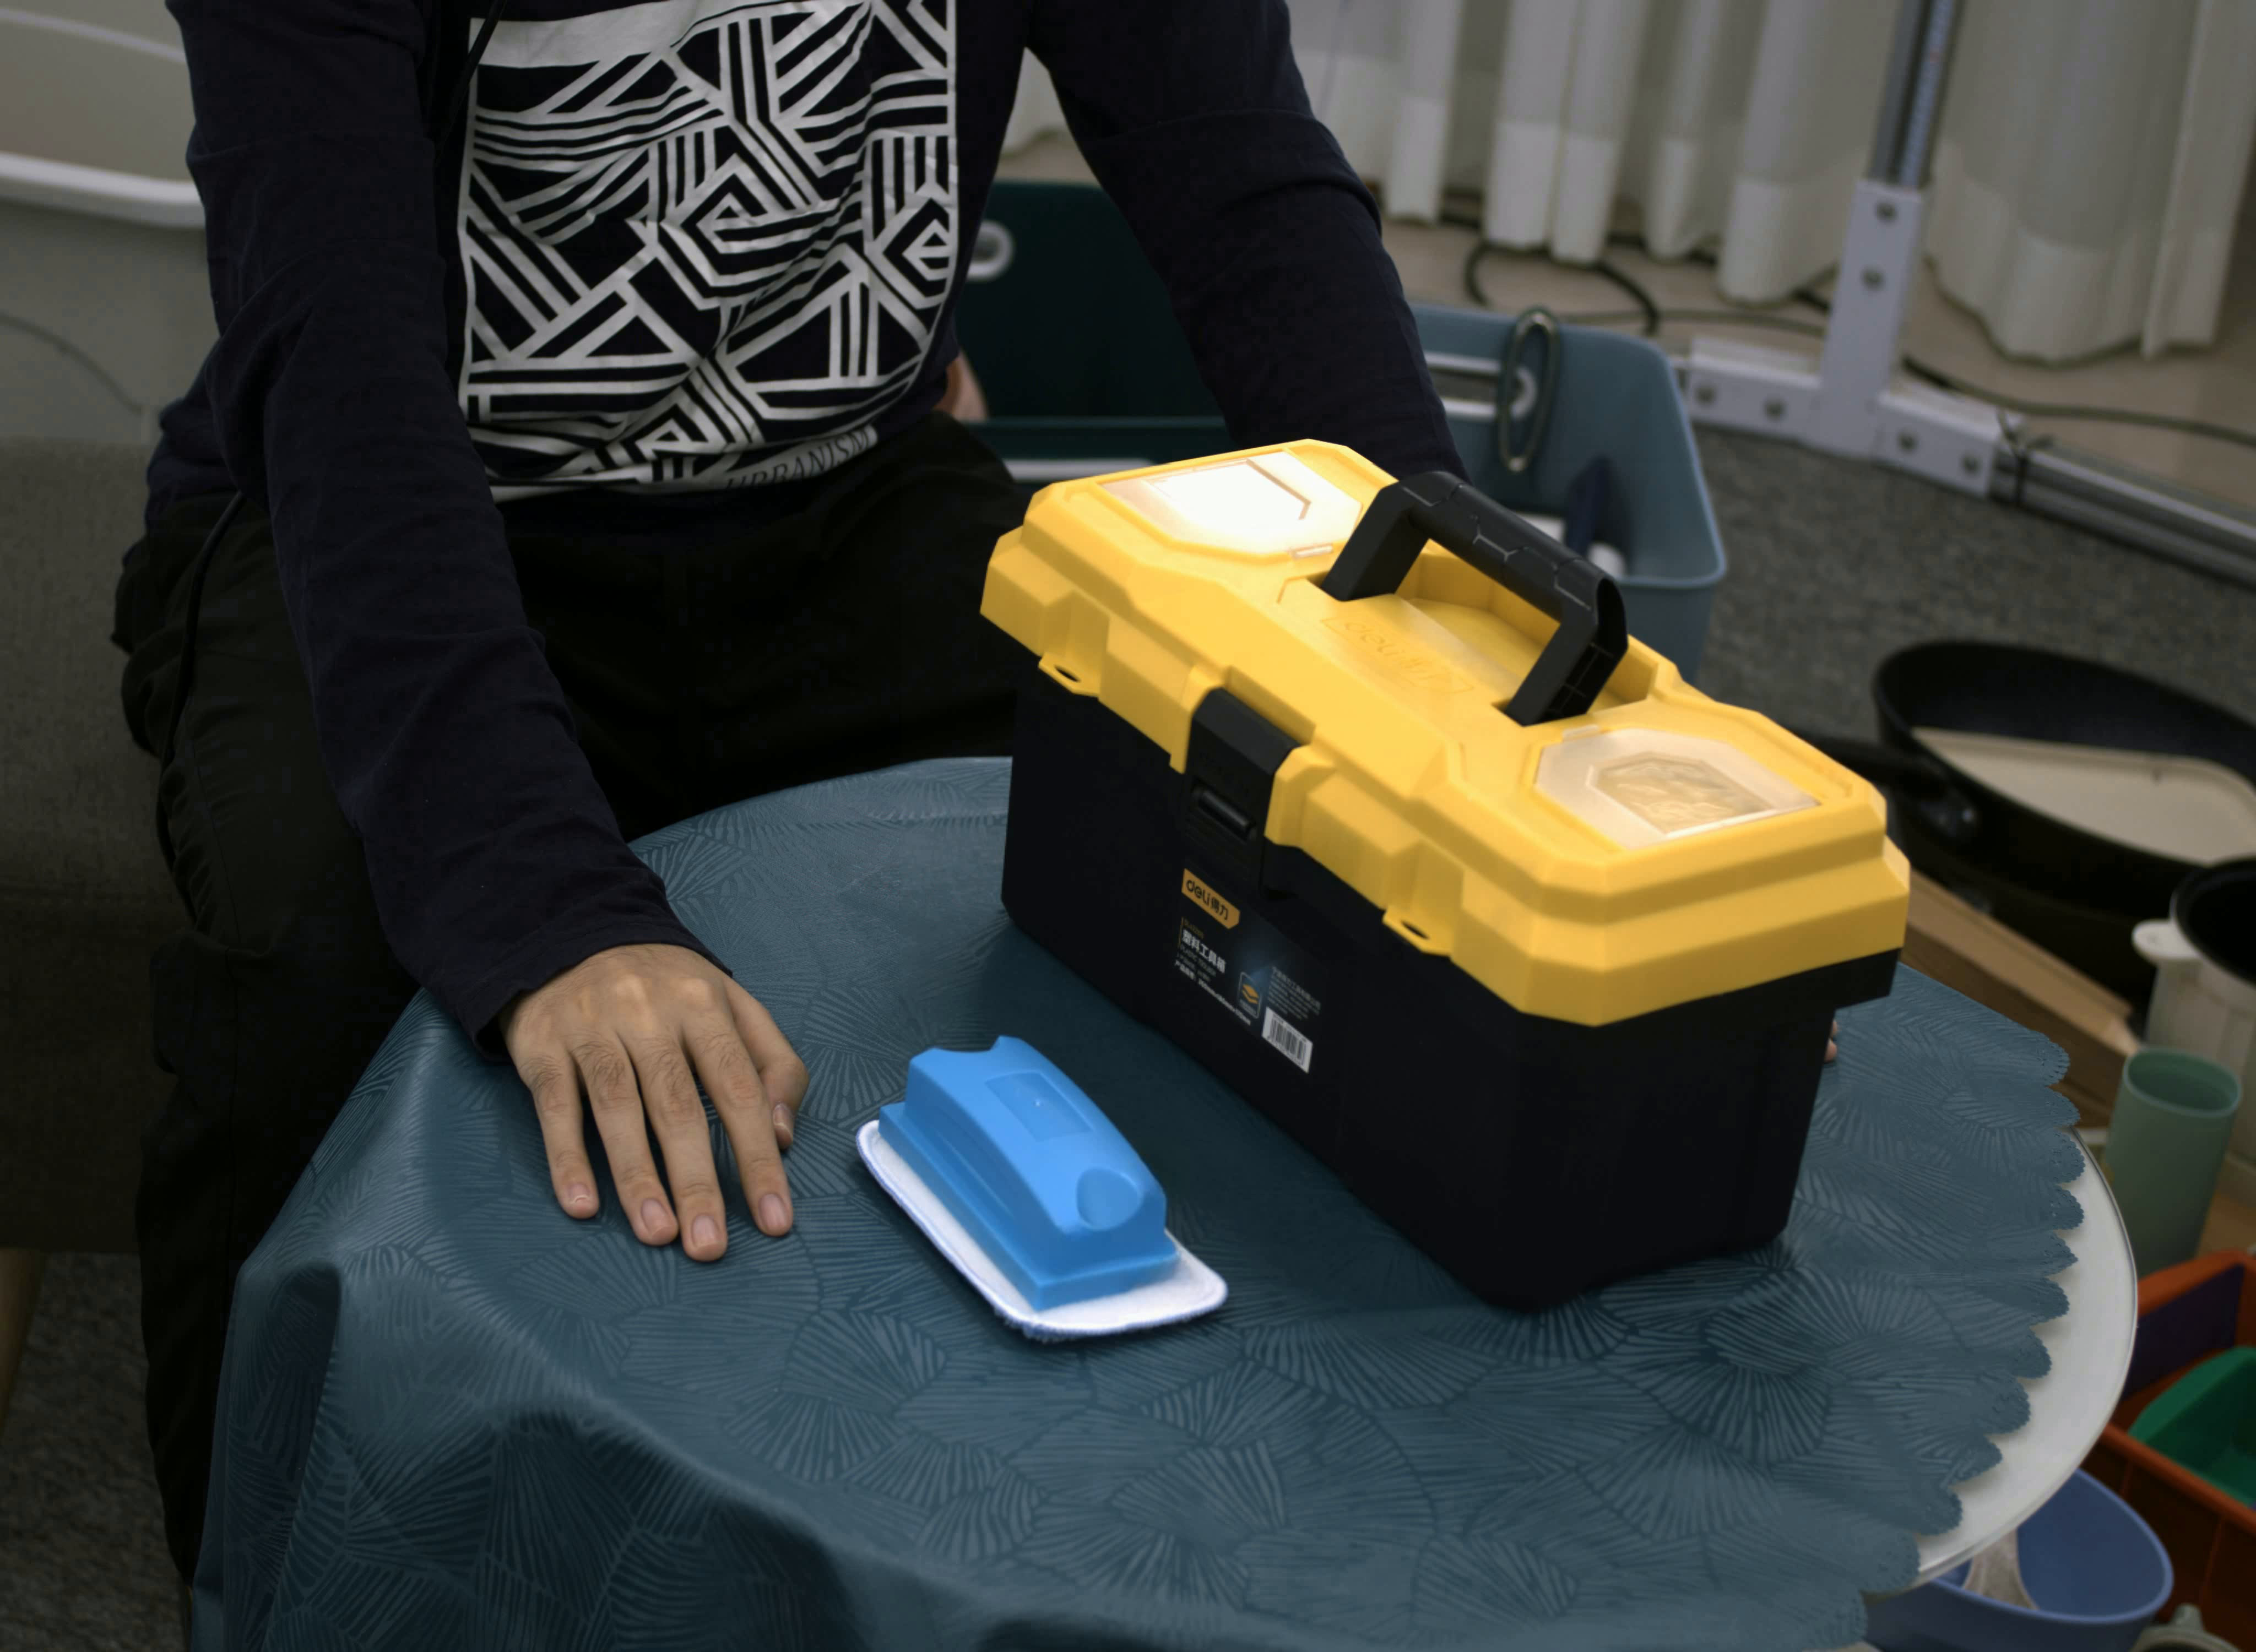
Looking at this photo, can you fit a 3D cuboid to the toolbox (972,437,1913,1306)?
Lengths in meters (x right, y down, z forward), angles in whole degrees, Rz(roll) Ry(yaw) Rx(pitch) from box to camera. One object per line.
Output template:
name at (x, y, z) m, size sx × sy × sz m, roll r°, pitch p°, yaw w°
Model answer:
toolbox at (0.097, 0.010, 1.860) m, size 0.180 × 0.172 × 0.354 m, roll -12°, pitch 32°, yaw -33°

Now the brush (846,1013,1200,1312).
brush at (-0.032, 0.107, 1.765) m, size 0.083 × 0.056 × 0.145 m, roll -4°, pitch 30°, yaw -26°
